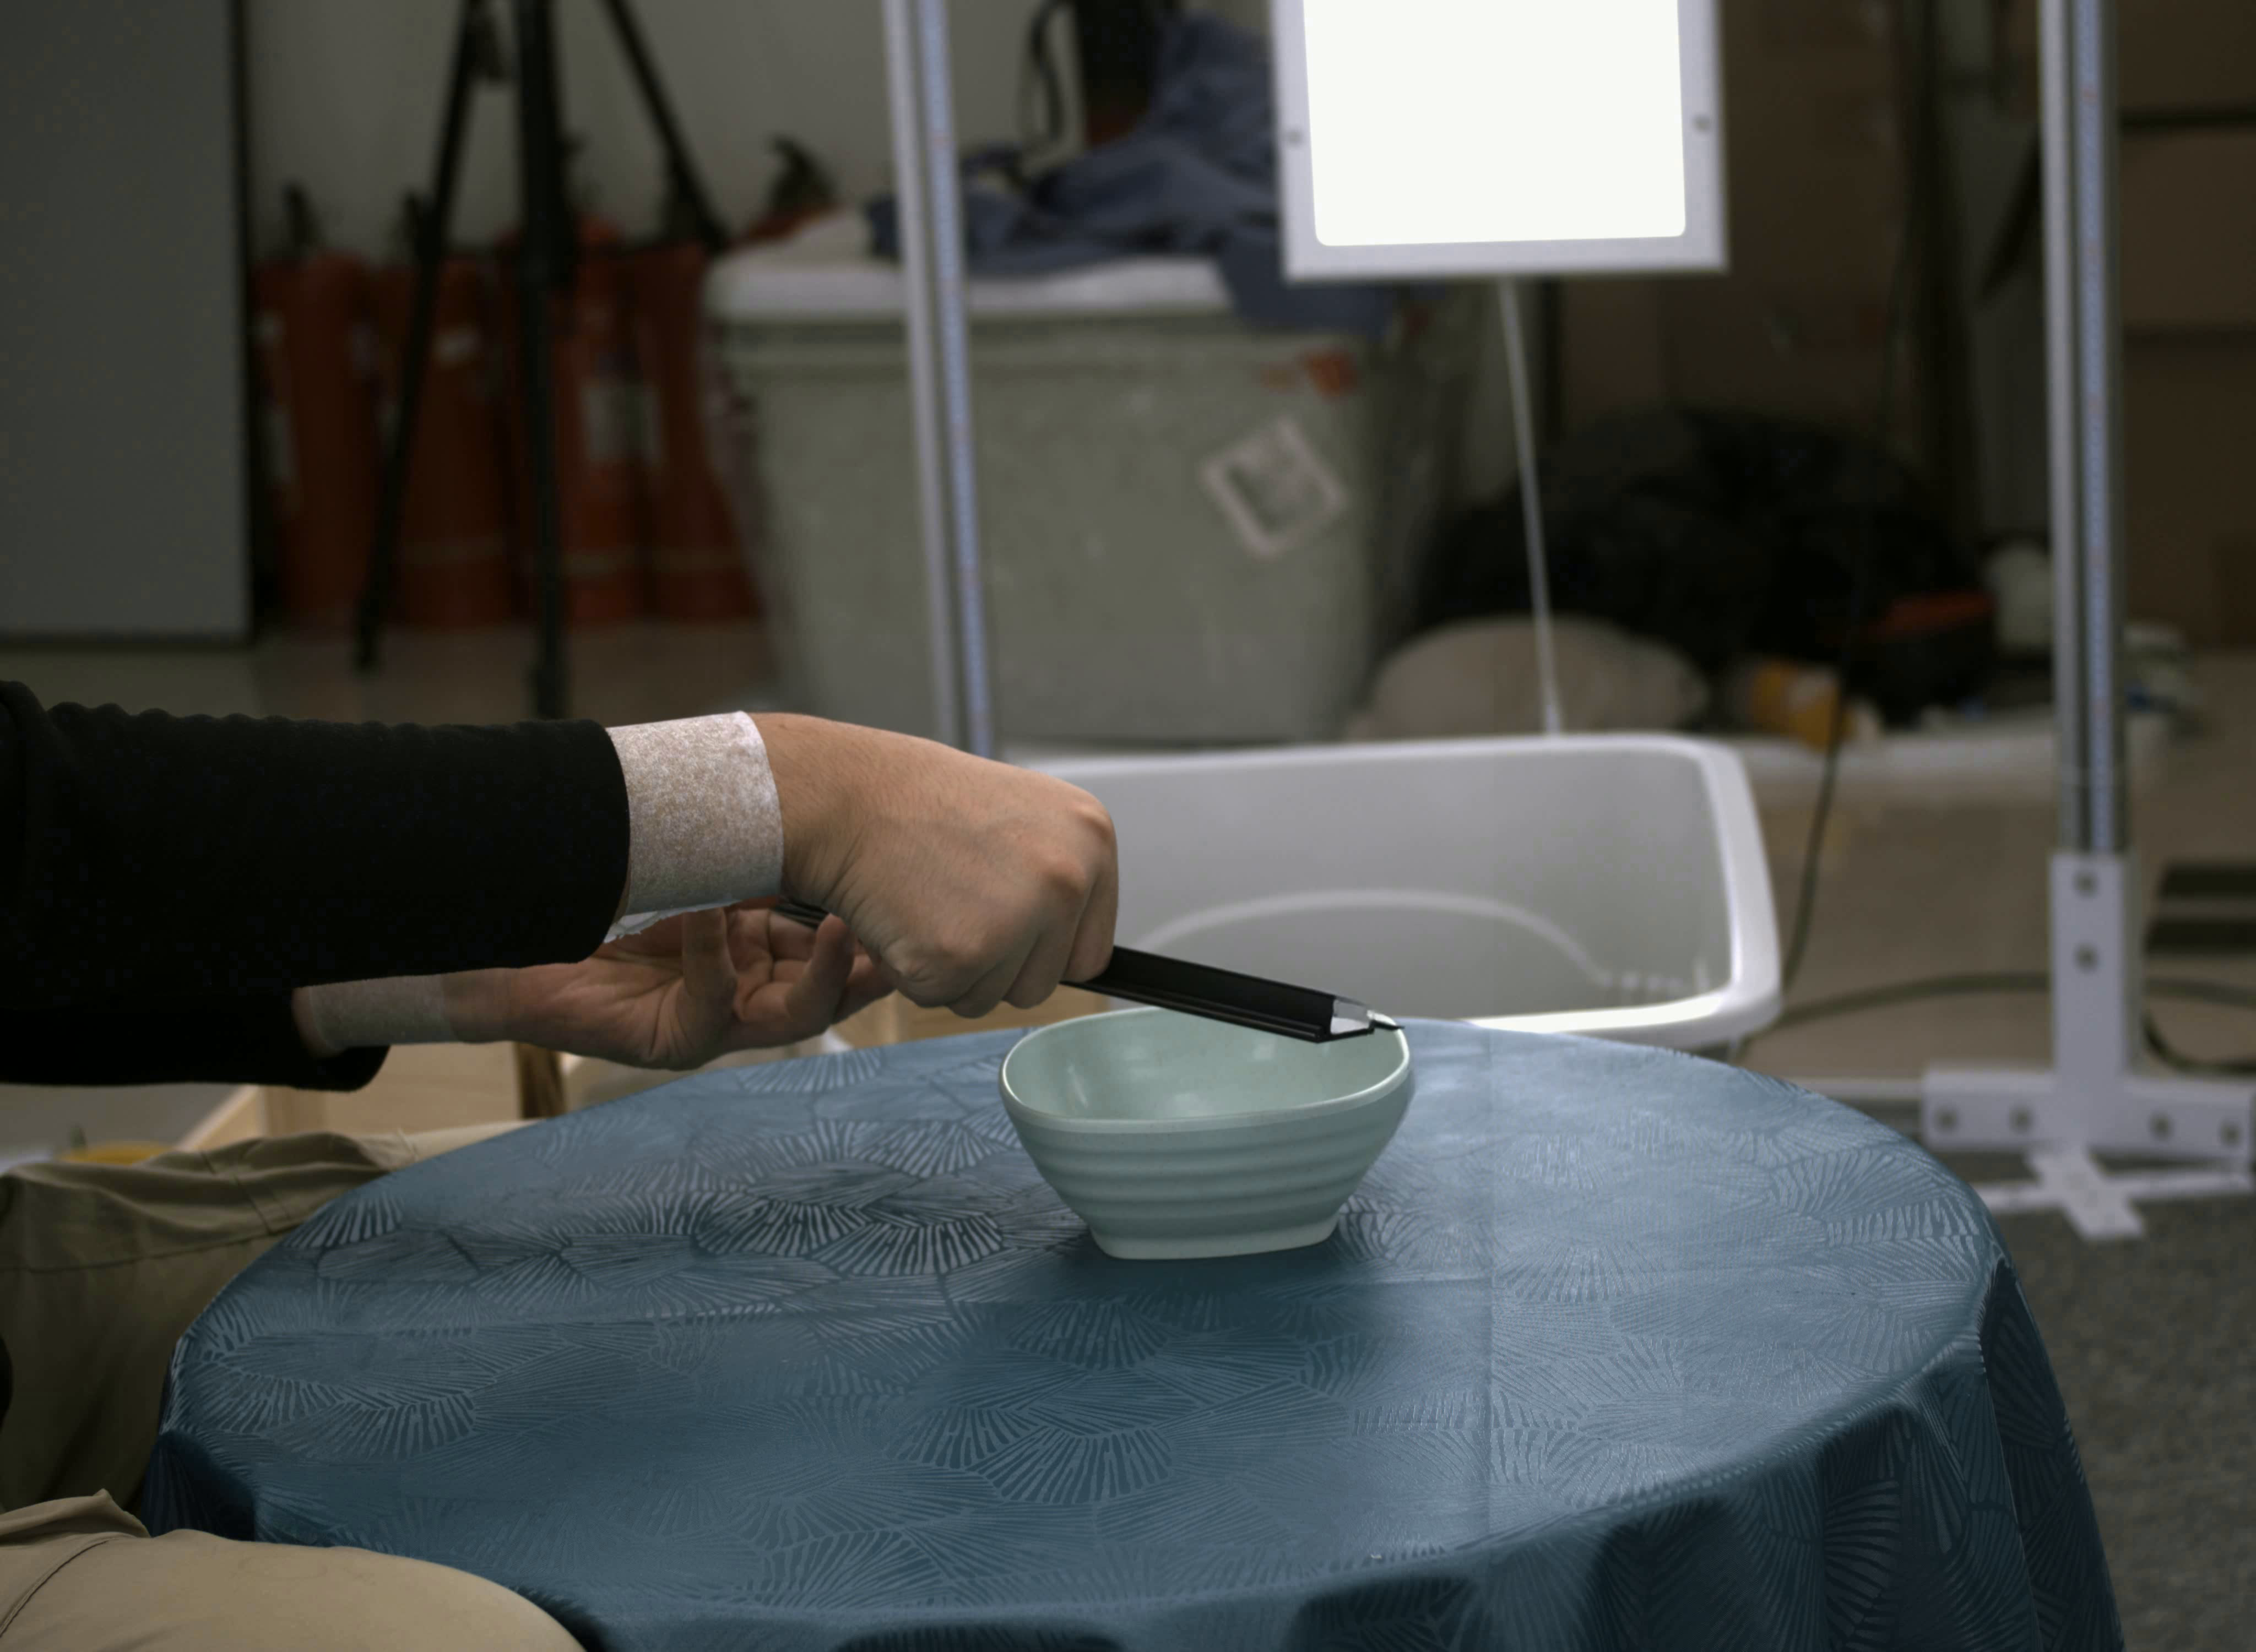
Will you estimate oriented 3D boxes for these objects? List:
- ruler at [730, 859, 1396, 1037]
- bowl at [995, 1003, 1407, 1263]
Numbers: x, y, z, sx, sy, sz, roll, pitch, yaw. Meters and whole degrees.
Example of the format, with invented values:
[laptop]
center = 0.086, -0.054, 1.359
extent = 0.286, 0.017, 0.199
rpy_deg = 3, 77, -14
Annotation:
[ruler]
center = -0.027, 0.038, 1.851
extent = 0.038, 0.017, 0.319
rpy_deg = -3, 9, -39
[bowl]
center = 0.026, 0.106, 1.855
extent = 0.151, 0.059, 0.151
rpy_deg = -3, 15, -1
